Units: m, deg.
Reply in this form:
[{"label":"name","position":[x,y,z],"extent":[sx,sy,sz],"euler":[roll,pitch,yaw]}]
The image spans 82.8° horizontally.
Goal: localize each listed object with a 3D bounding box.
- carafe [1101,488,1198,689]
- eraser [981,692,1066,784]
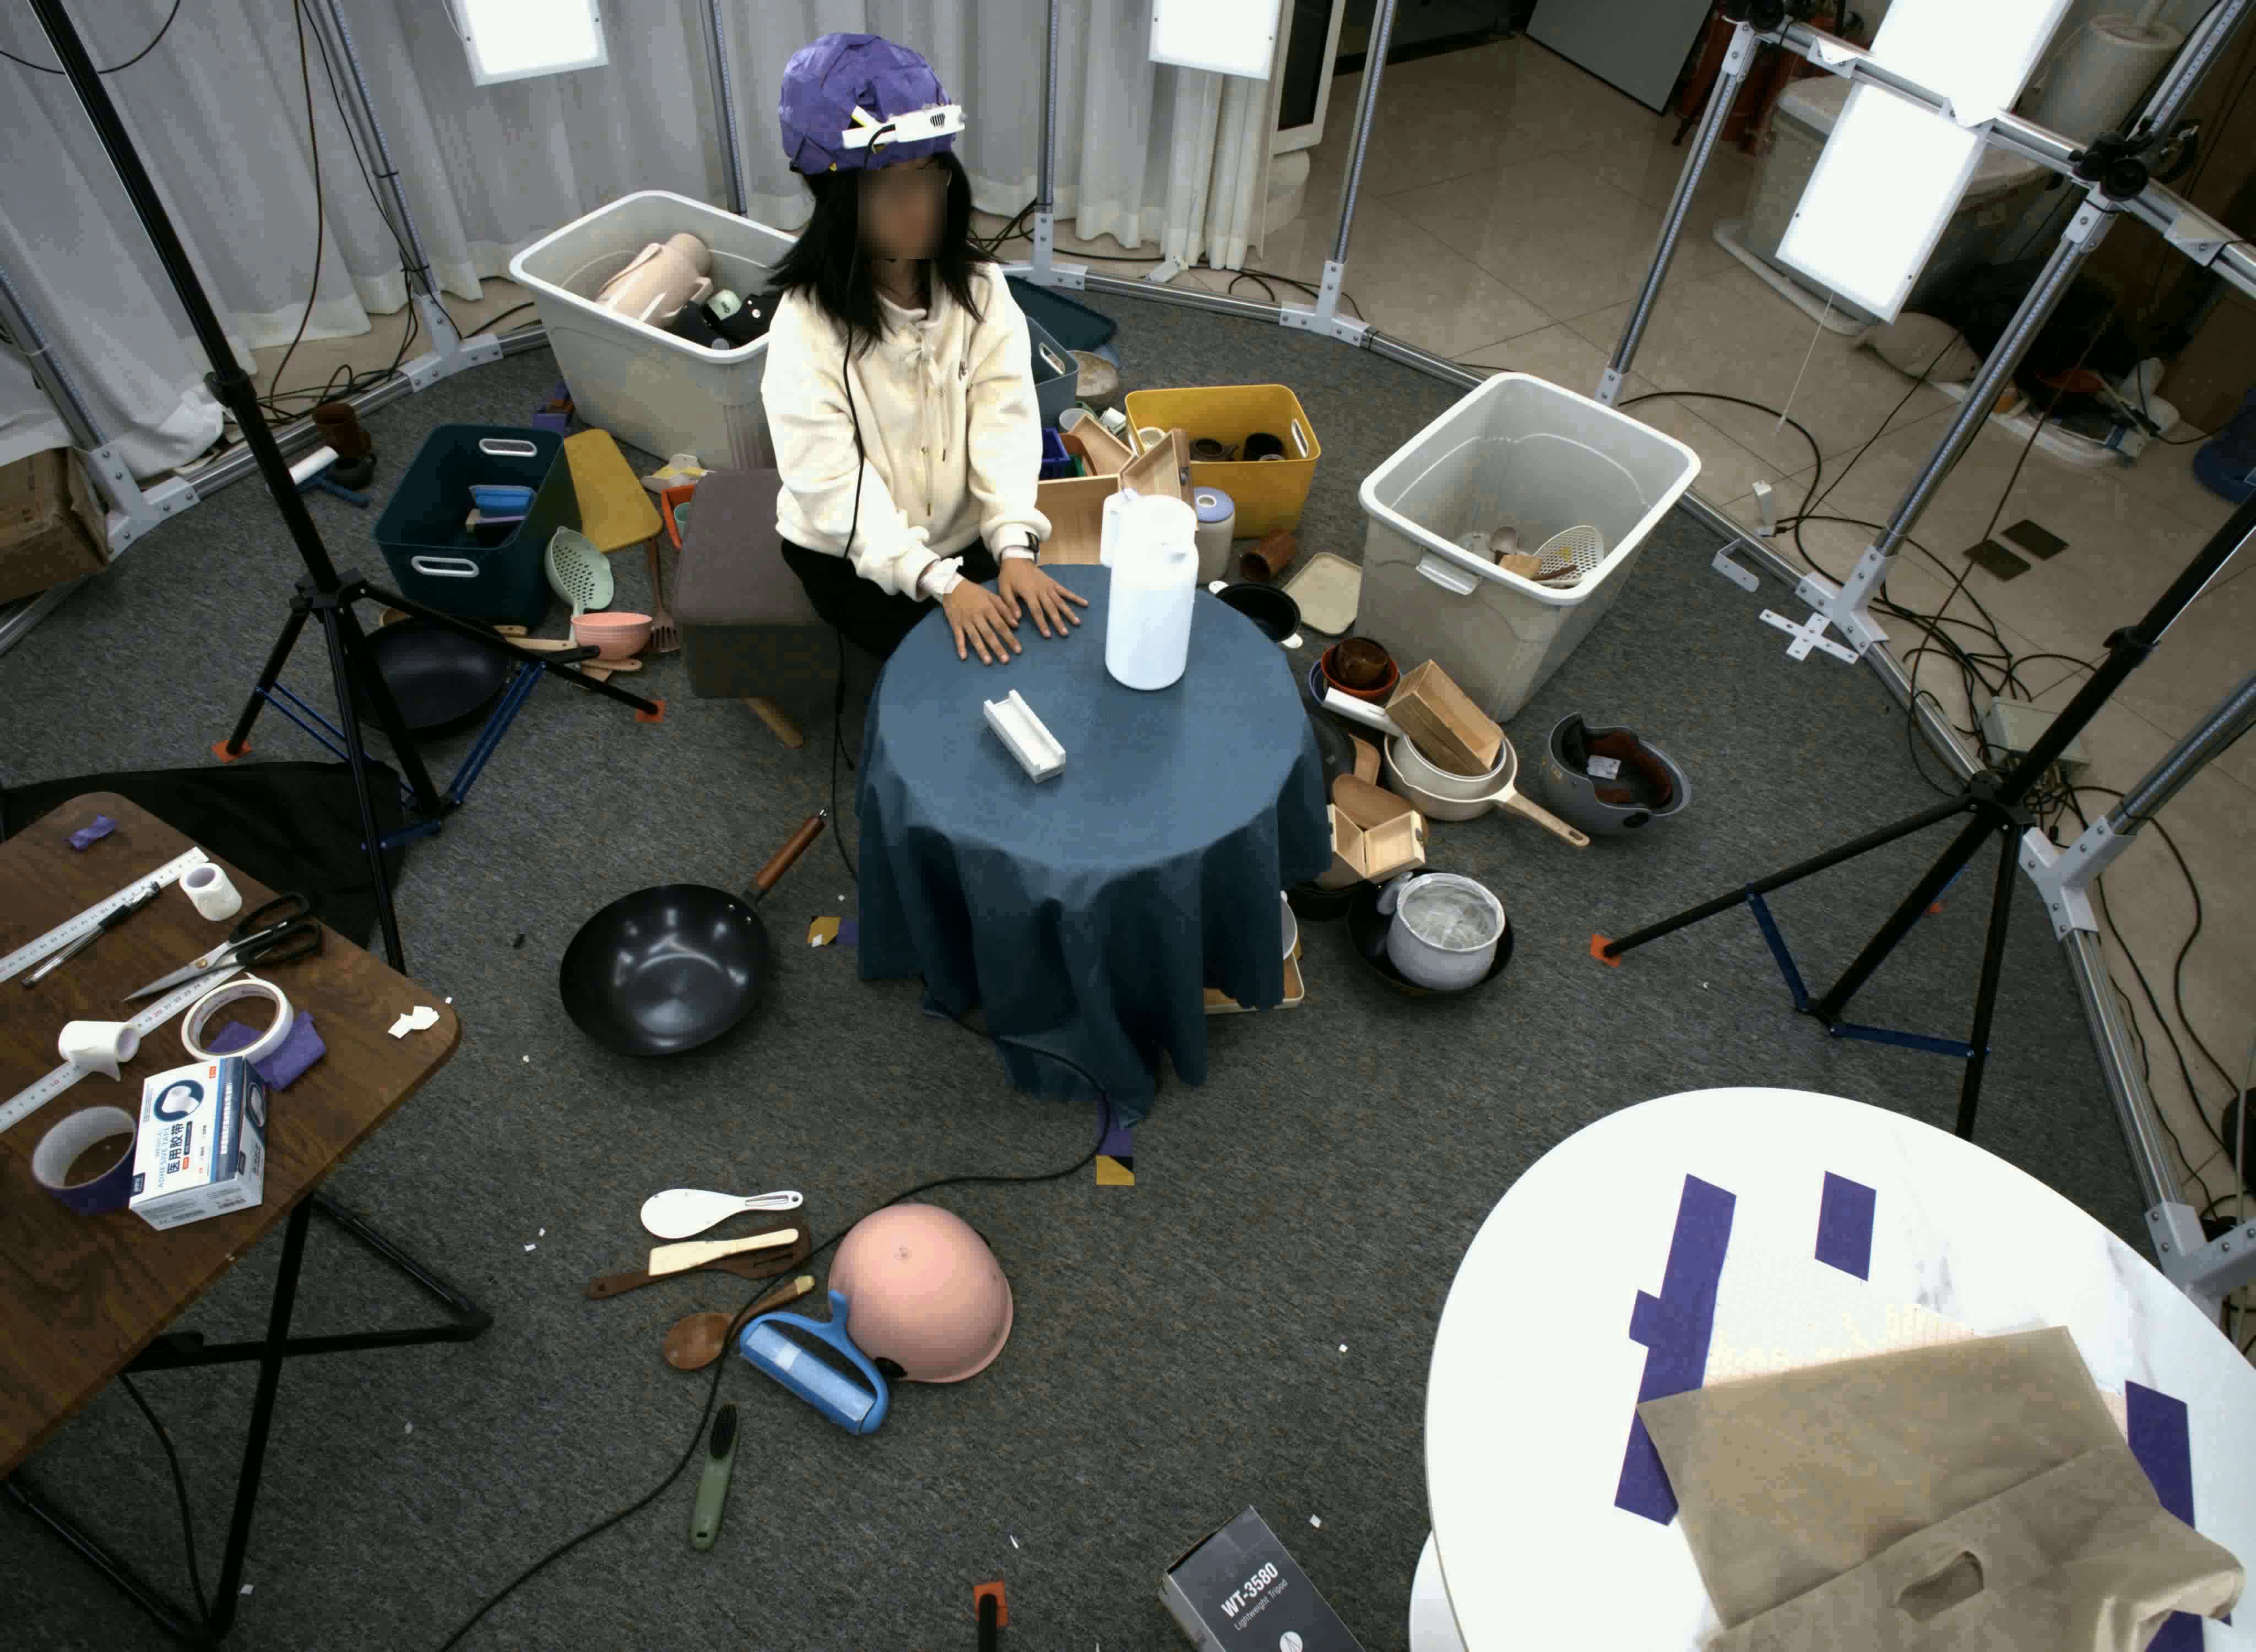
[{"label":"carafe","position":[0.021,-0.331,1.787],"extent":[0.124,0.262,0.176],"euler":[-28,57,-23]},{"label":"eraser","position":[-0.142,-0.120,1.735],"extent":[0.050,0.045,0.137],"euler":[-29,57,-21]}]
